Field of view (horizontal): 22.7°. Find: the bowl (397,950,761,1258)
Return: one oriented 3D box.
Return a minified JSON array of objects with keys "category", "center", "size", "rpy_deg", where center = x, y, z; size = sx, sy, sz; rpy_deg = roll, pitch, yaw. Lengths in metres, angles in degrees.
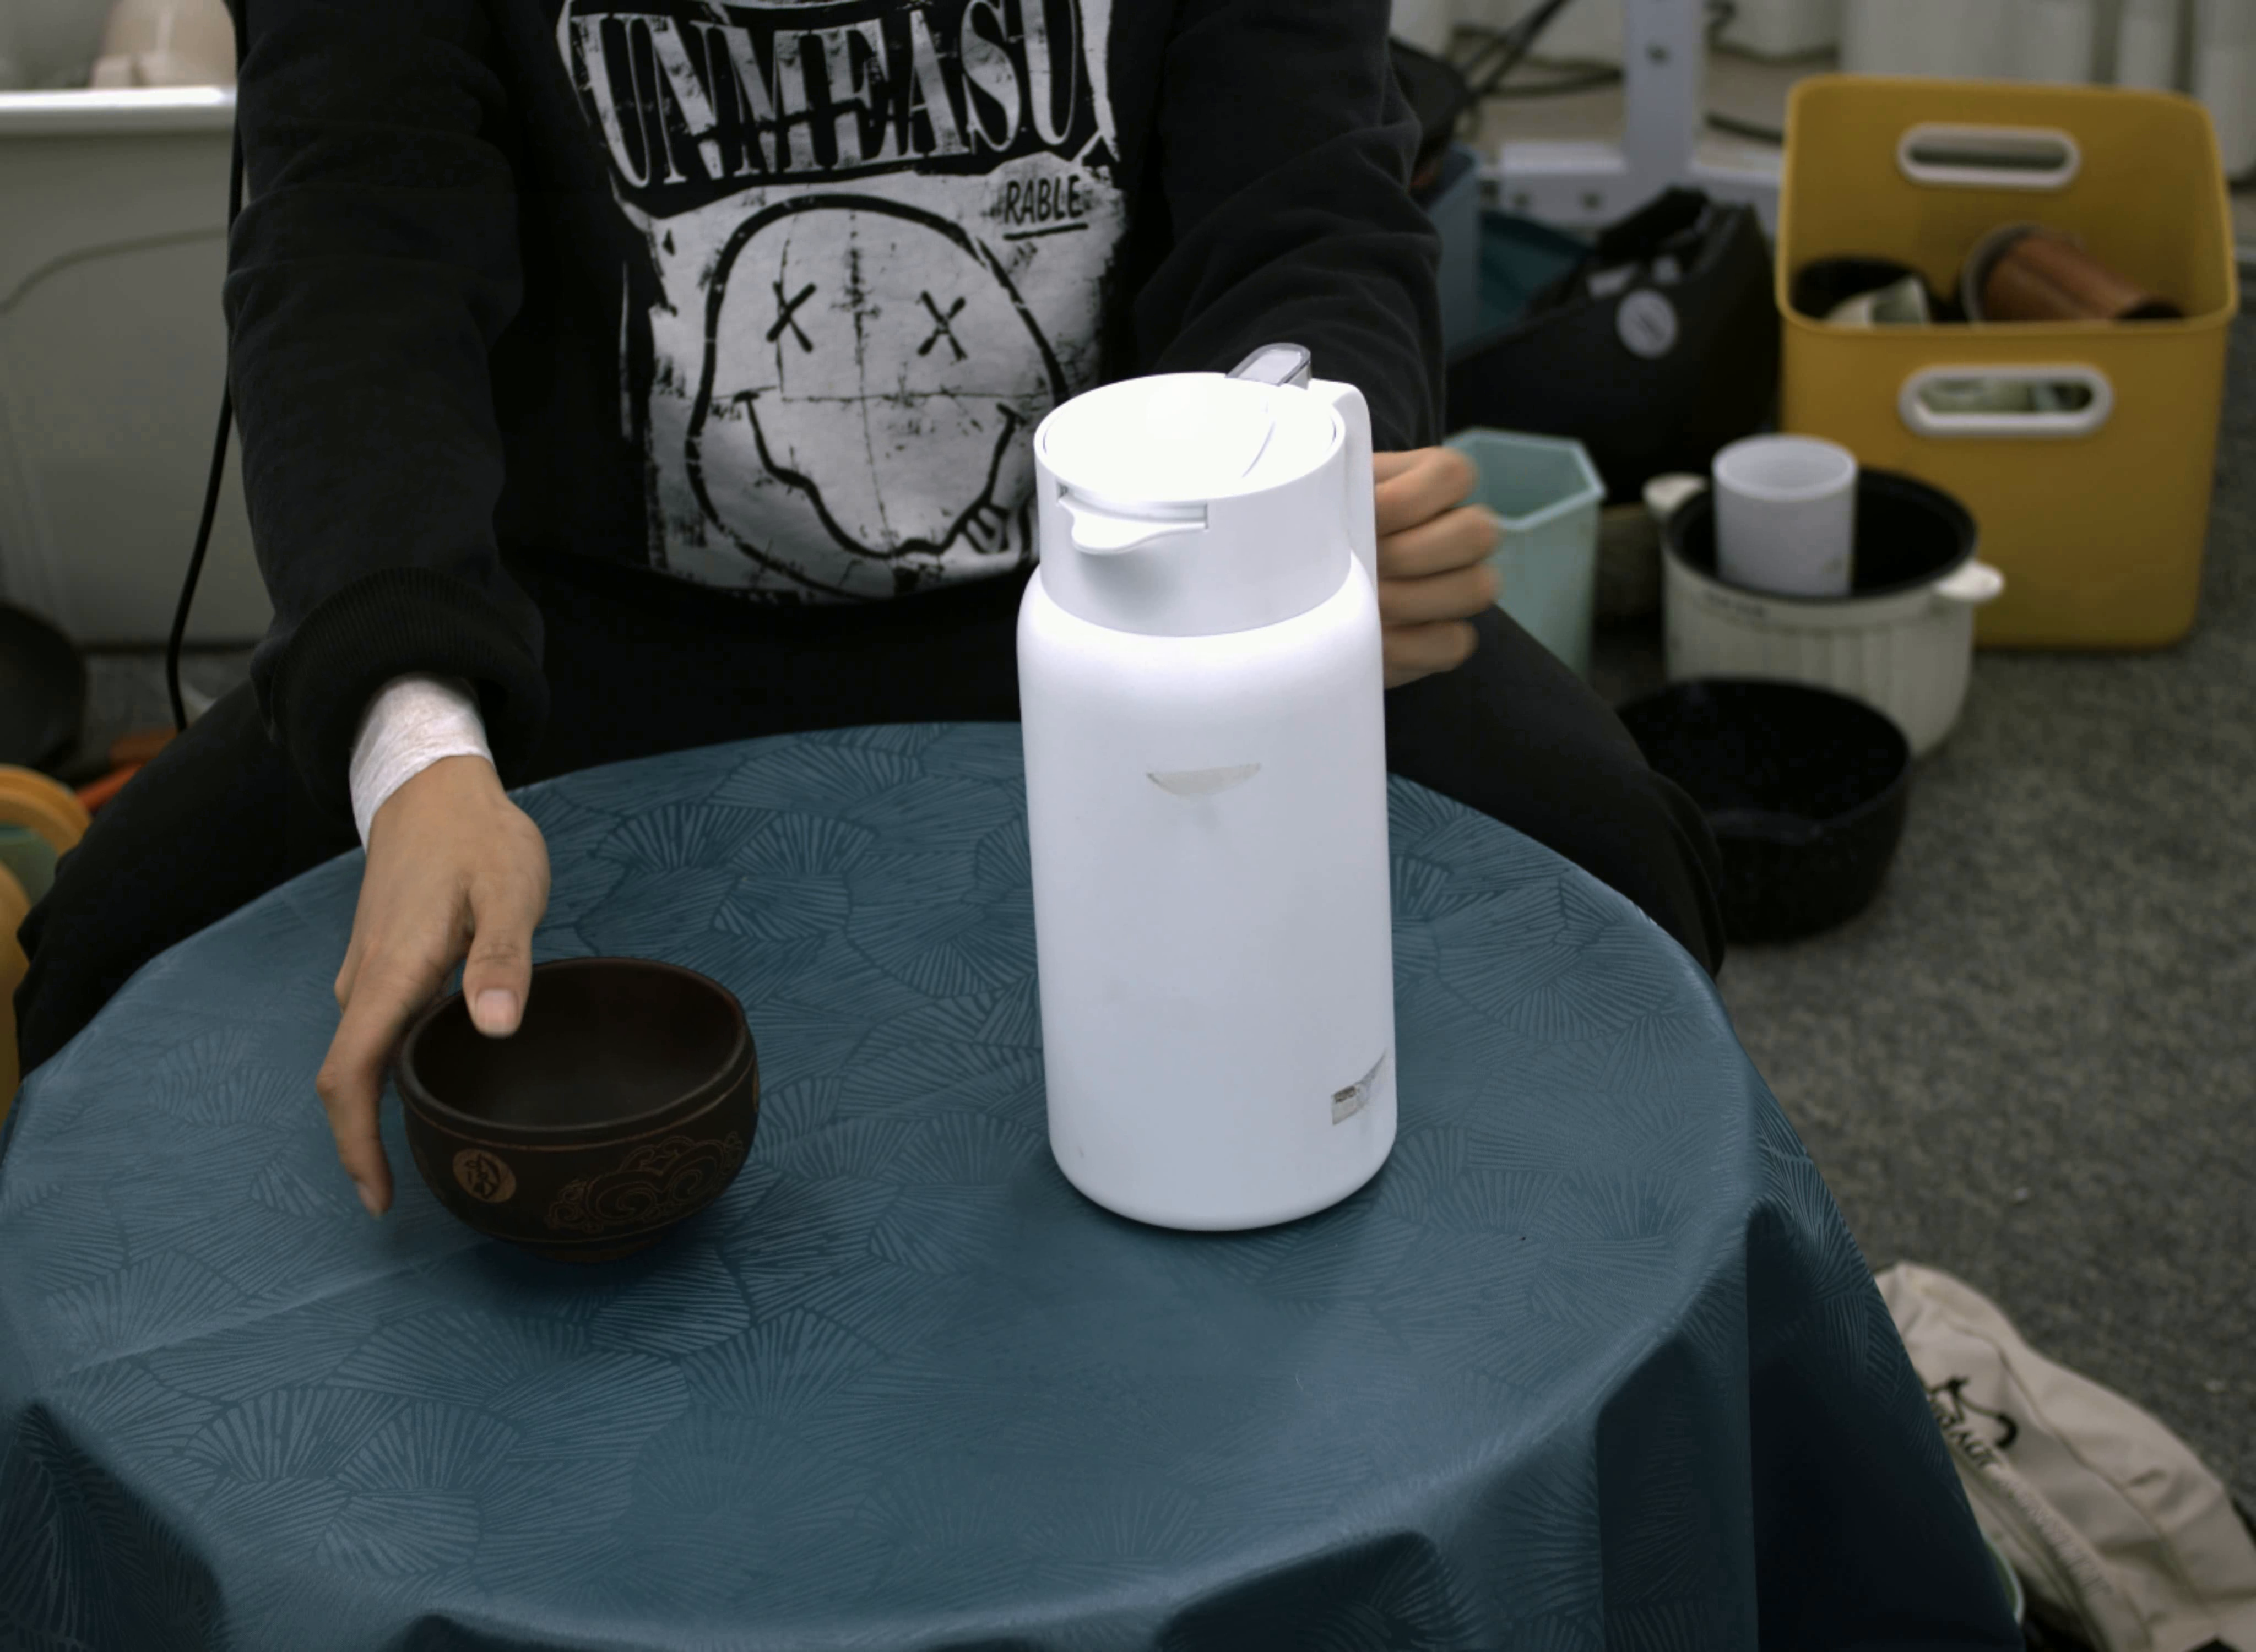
[{"category":"bowl","center":[-0.178,0.098,1.842],"size":[0.117,0.069,0.120],"rpy_deg":[-3,26,2]}]

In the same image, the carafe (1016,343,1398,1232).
[{"category":"carafe","center":[0.032,-0.016,1.836],"size":[0.123,0.266,0.176],"rpy_deg":[7,28,25]}]
